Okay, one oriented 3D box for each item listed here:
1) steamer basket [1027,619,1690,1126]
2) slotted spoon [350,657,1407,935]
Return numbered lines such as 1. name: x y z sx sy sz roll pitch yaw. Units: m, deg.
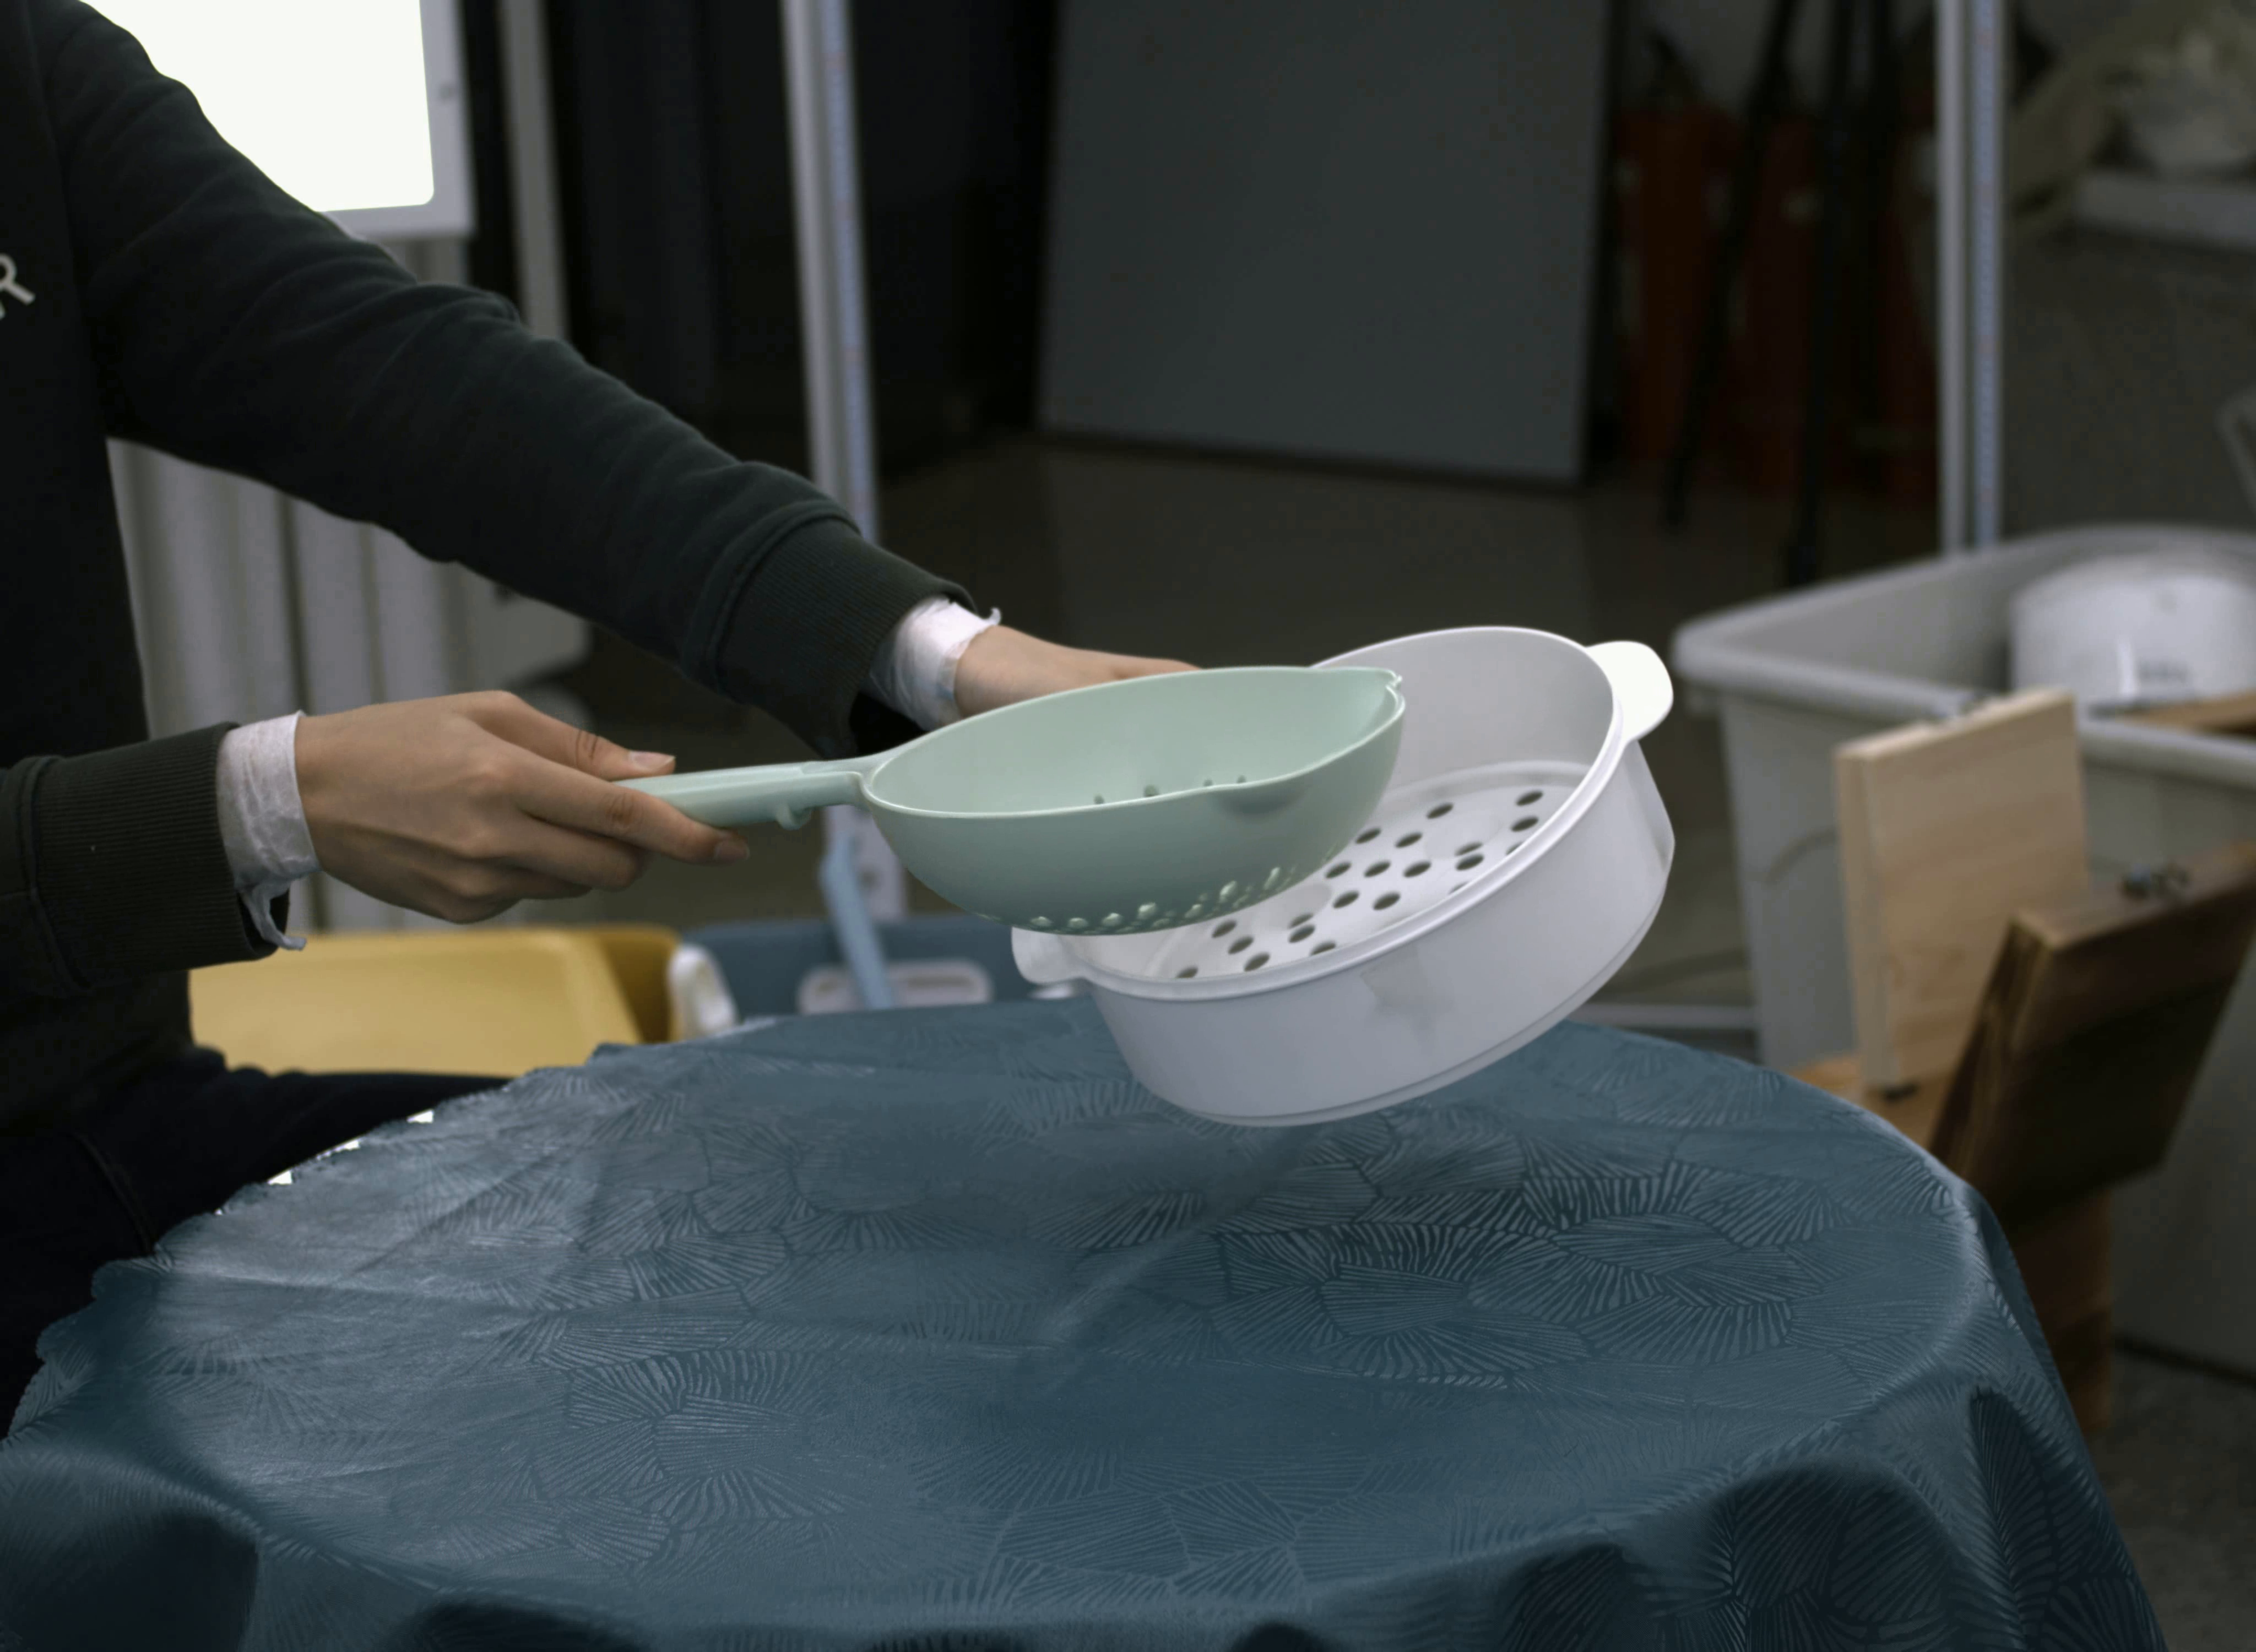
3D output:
1. steamer basket: 0.082 0.016 1.729 0.229 0.069 0.203 -25 24 5
2. slotted spoon: -0.086 -0.008 1.700 0.358 0.076 0.168 3 15 19
